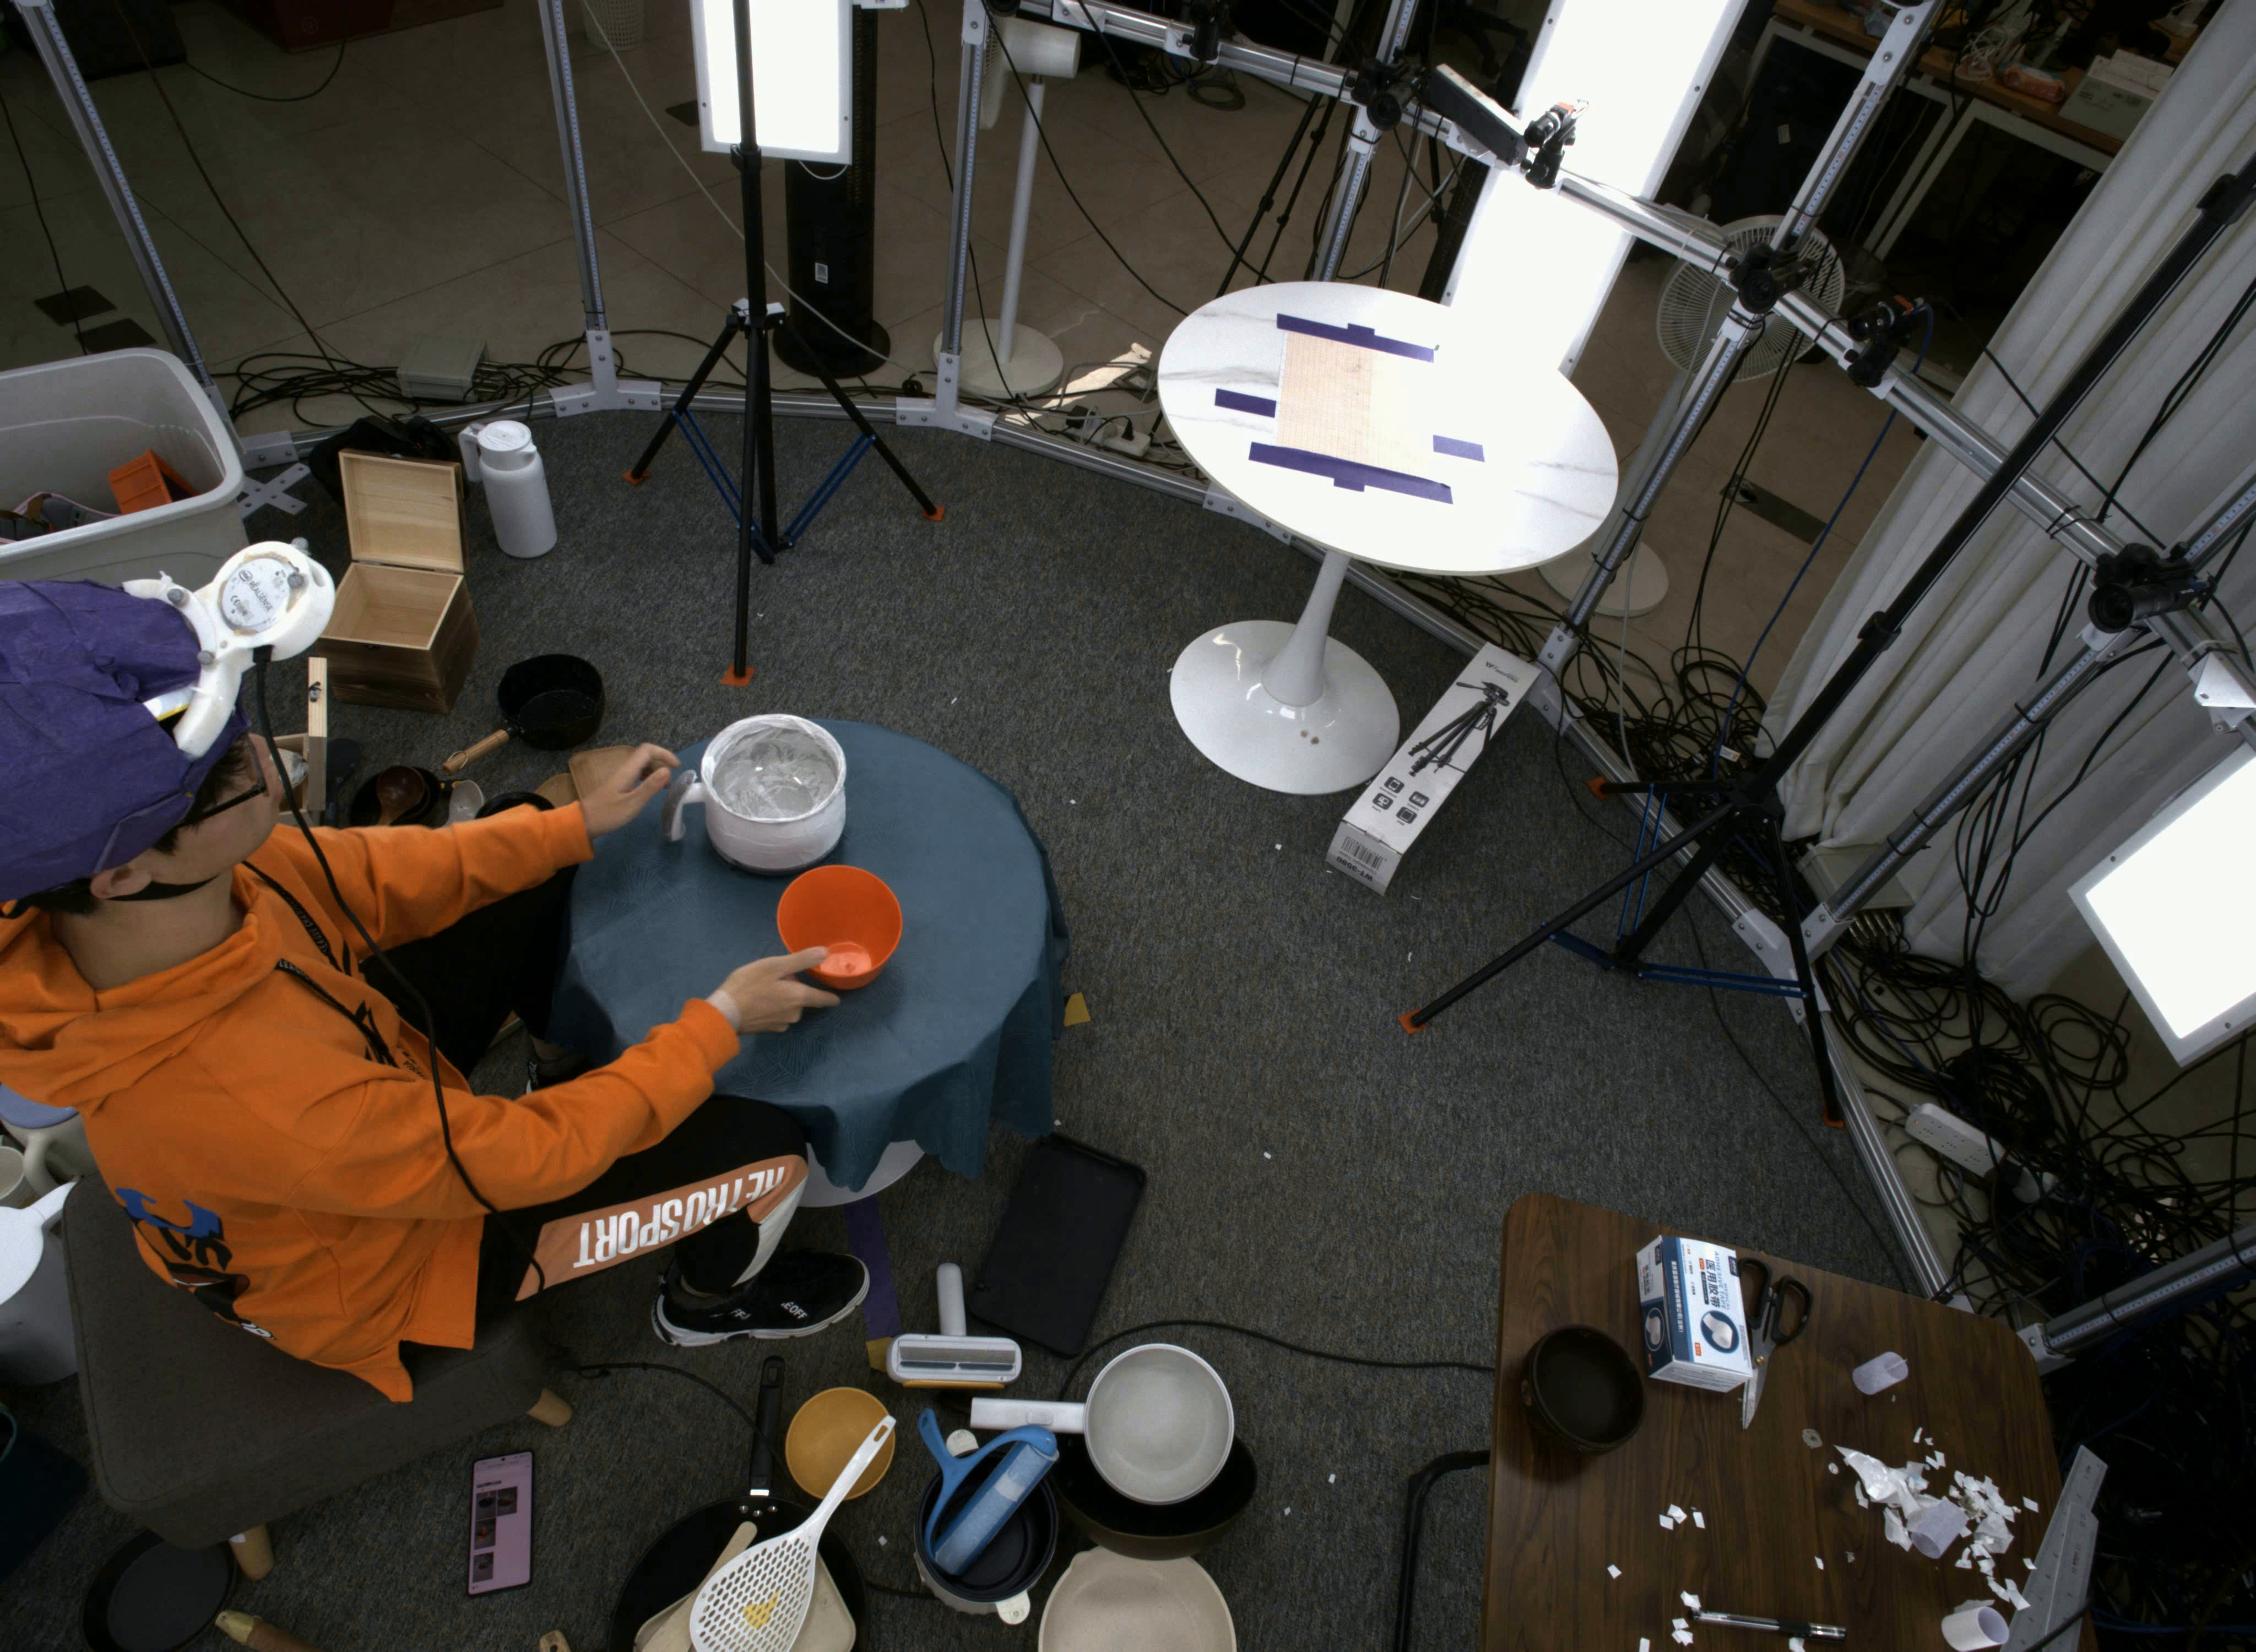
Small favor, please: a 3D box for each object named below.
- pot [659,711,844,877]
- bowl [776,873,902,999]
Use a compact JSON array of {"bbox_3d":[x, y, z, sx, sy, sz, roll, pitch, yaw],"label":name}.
[{"bbox_3d":[-0.477,-0.033,1.636,0.235,0.139,0.174,-8,55,-20],"label":"pot"},{"bbox_3d":[-0.345,0.144,1.573,0.147,0.107,0.145,4,50,-3],"label":"bowl"}]
